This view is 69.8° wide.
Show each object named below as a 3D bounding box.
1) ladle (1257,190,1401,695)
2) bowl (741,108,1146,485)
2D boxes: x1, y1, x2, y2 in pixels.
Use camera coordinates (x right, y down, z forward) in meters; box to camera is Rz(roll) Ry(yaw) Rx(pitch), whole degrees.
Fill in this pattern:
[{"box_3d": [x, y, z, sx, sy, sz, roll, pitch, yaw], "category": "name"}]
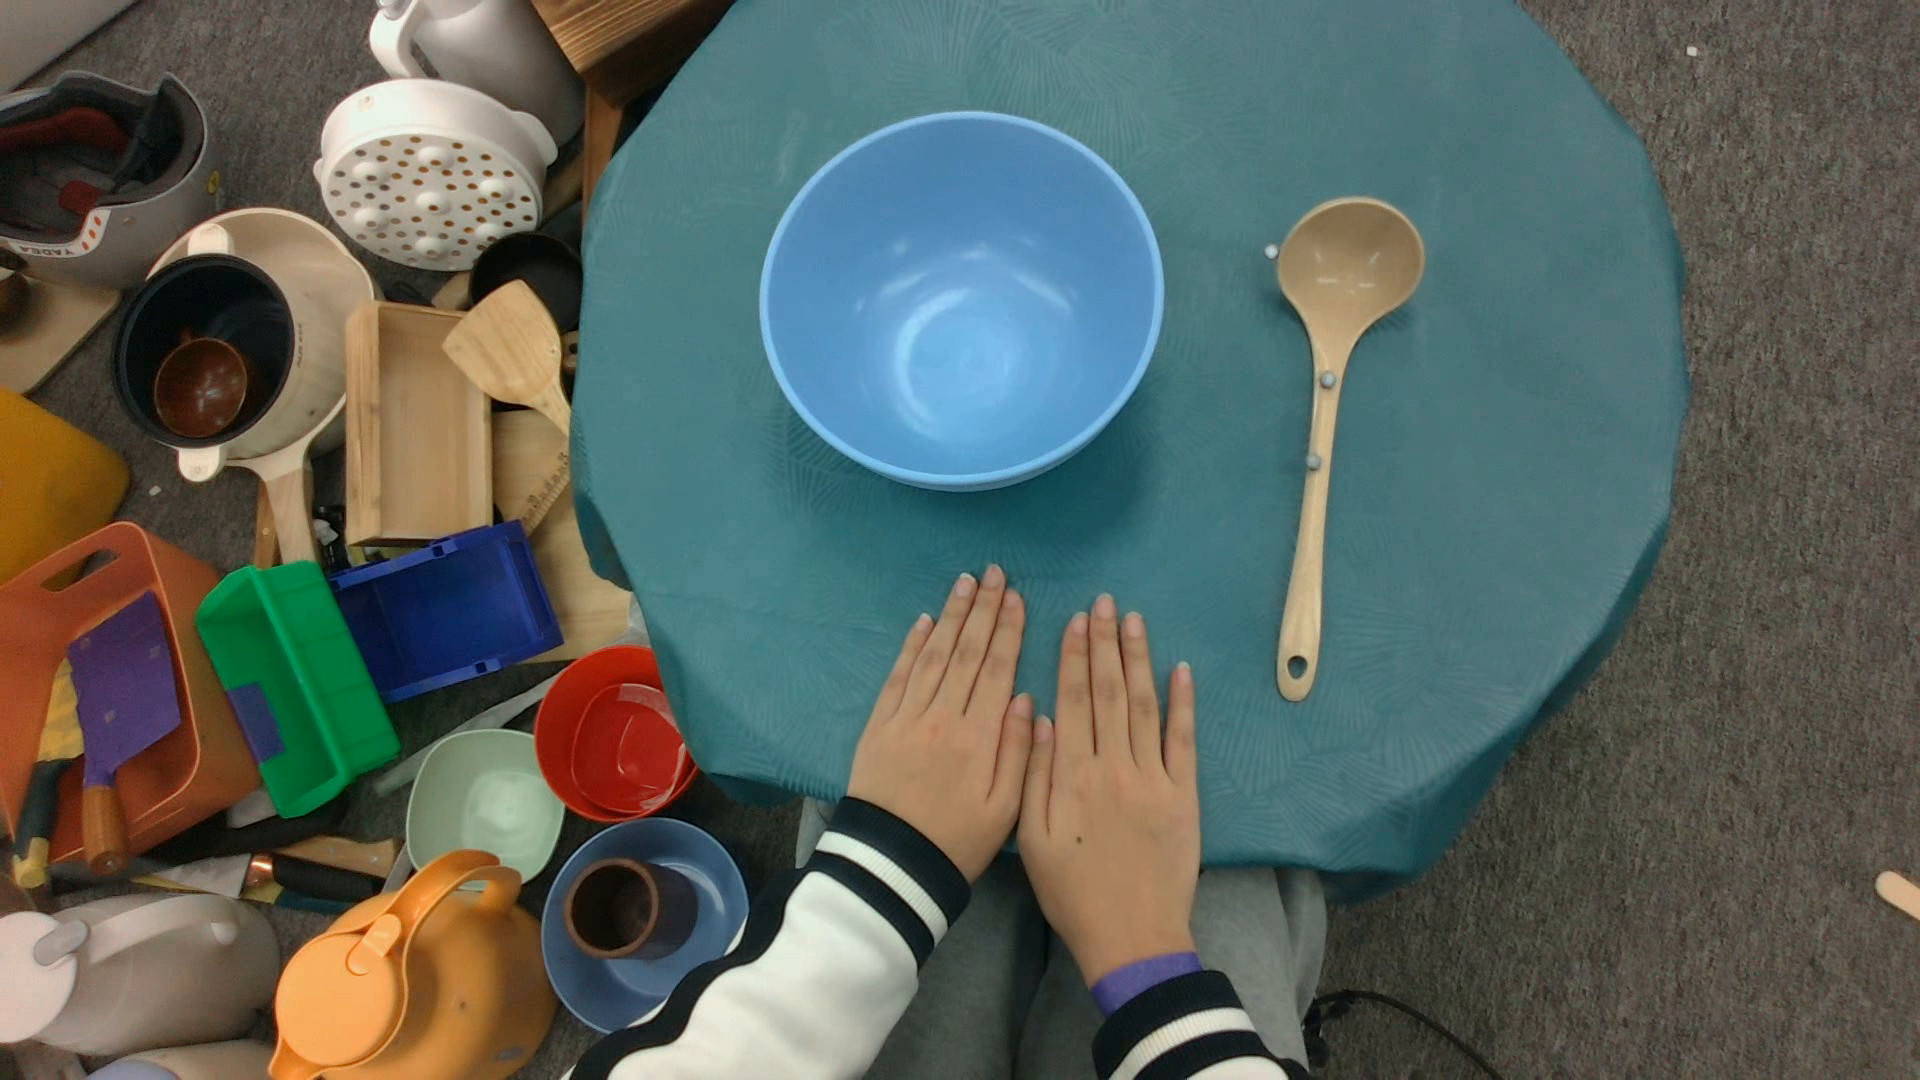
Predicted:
[{"box_3d": [0.179, -0.054, 0.690, 0.072, 0.072, 0.255, 6, 74, 6], "category": "ladle"}, {"box_3d": [-0.007, -0.111, 0.709, 0.196, 0.095, 0.197, 0, 74, 2], "category": "bowl"}]
